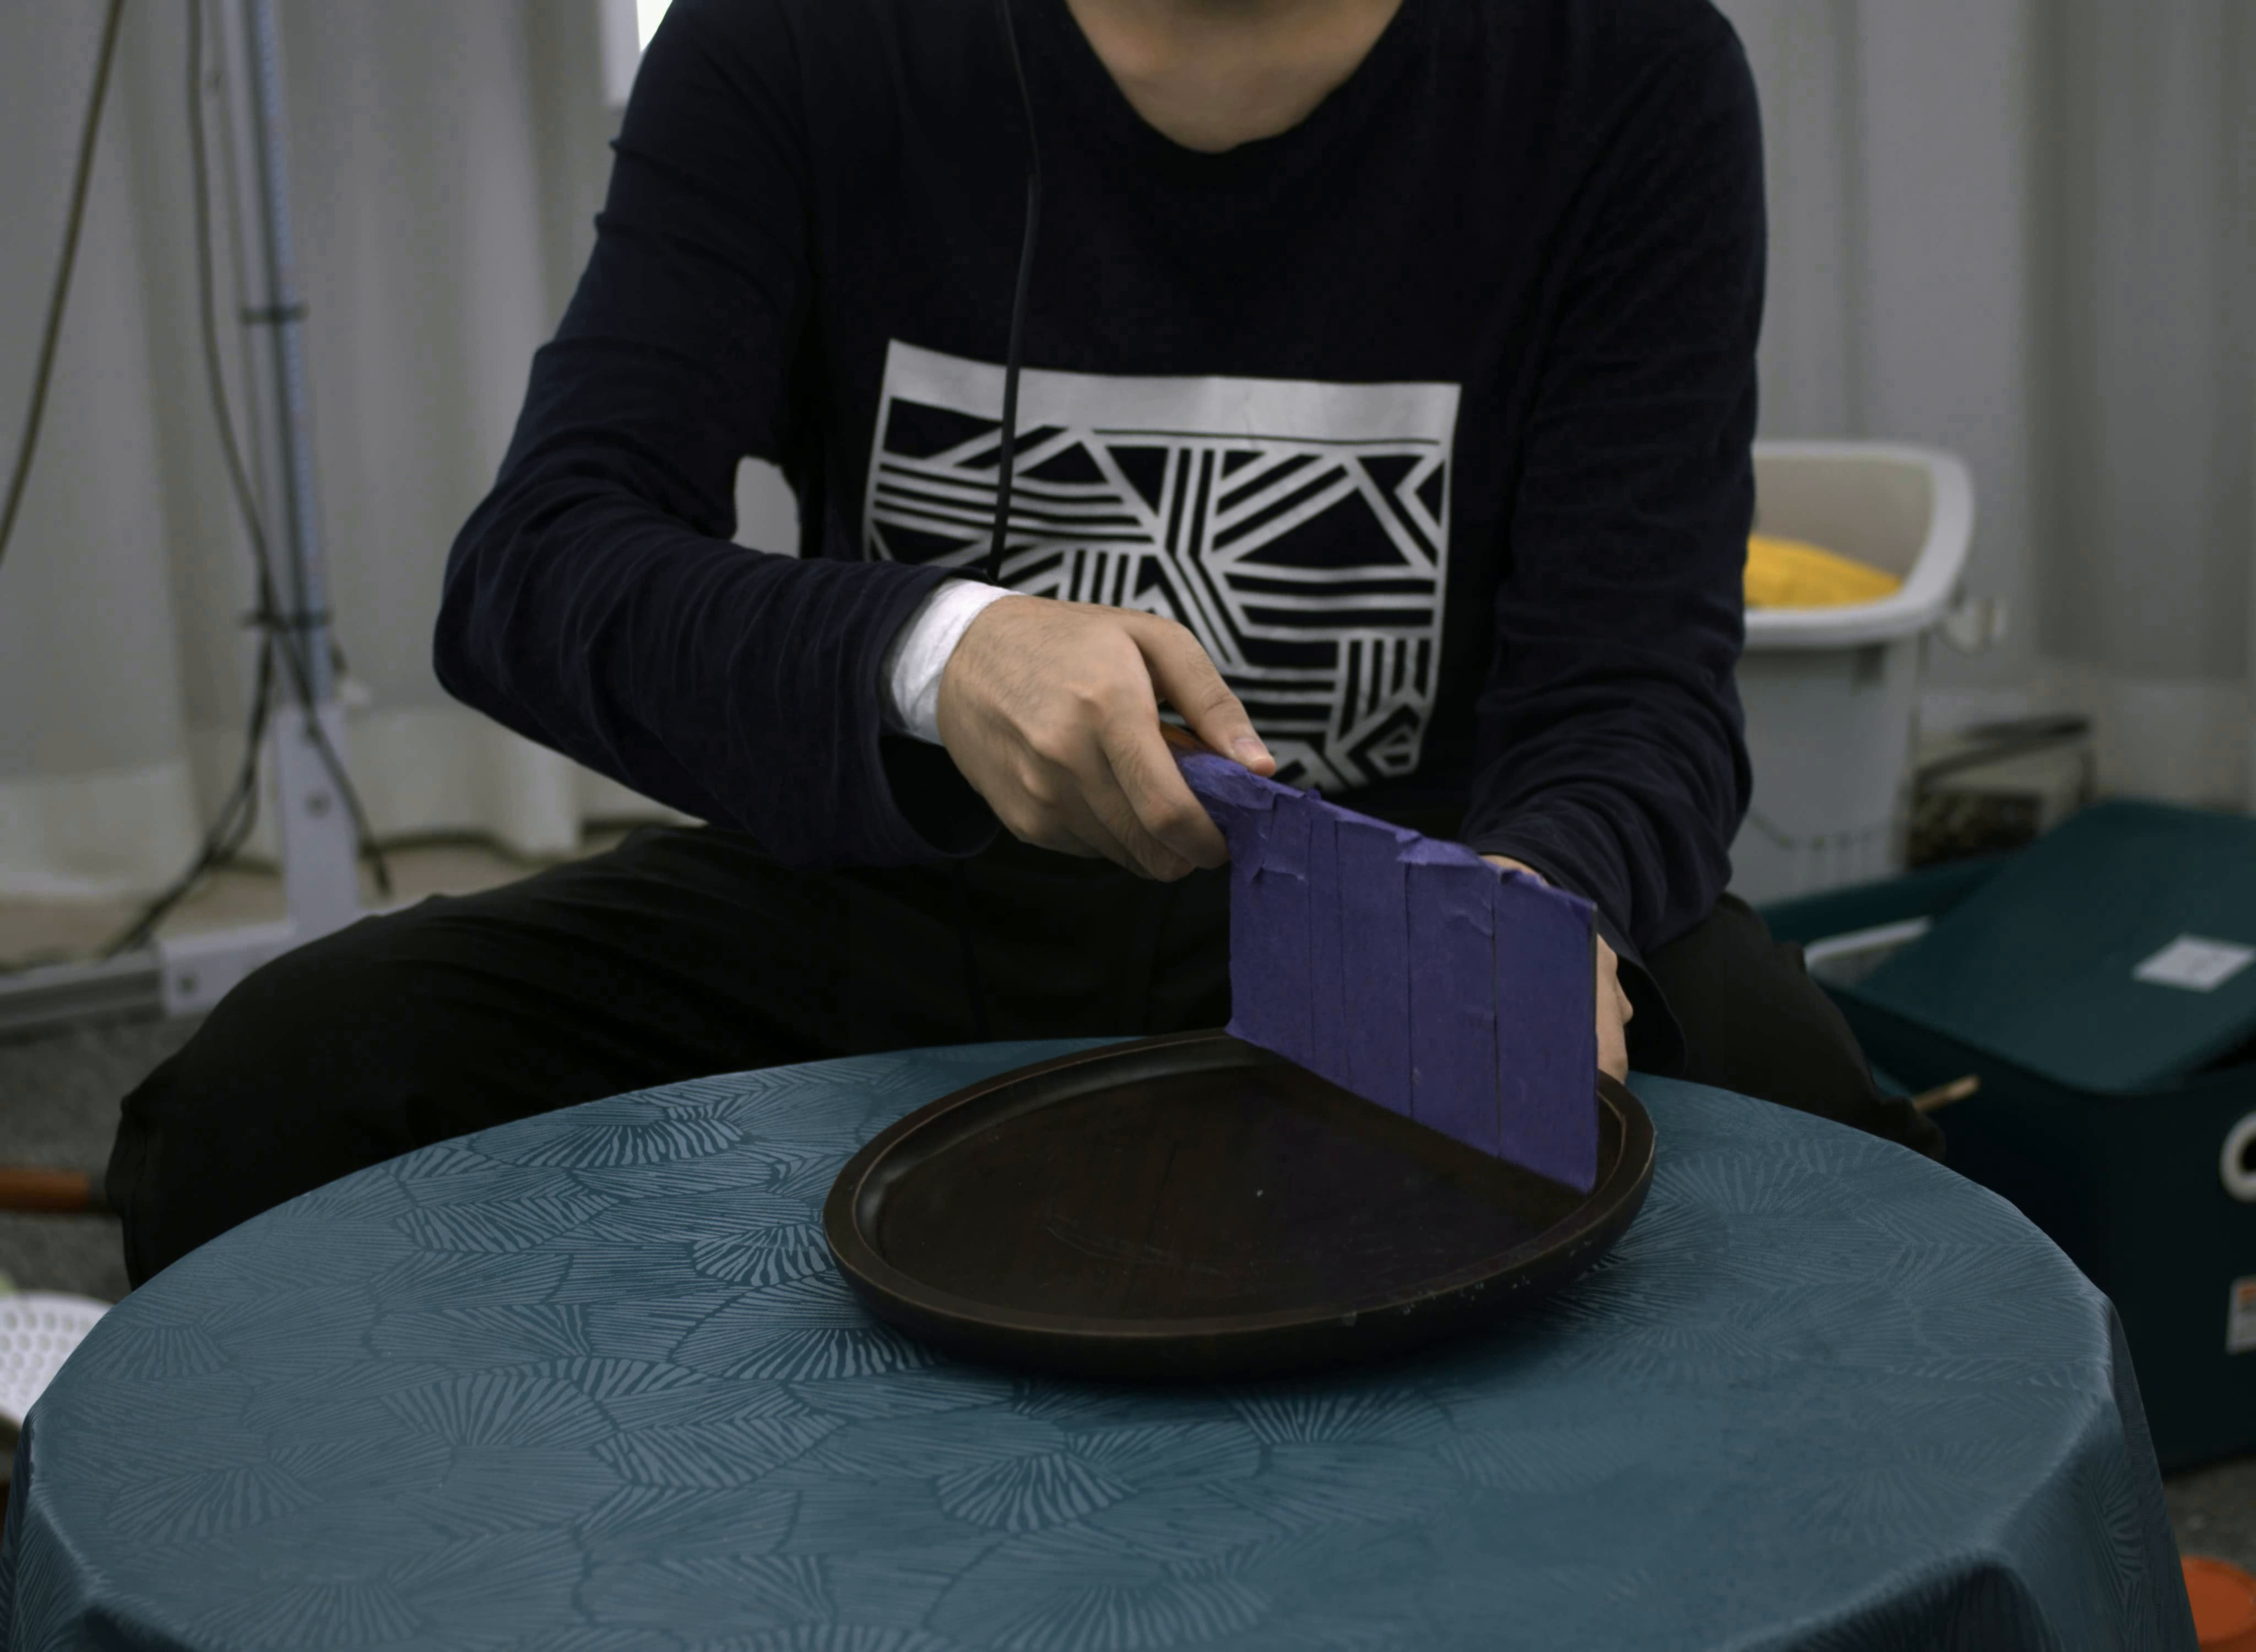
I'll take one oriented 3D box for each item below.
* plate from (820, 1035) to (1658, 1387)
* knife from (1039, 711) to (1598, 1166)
[{"bbox_3d":[0.033,0.112,1.645,0.254,0.029,0.257,-5,18,1],"label":"plate"},{"bbox_3d":[0.055,0.034,1.705,0.032,0.103,0.317,-5,13,-27],"label":"knife"}]
